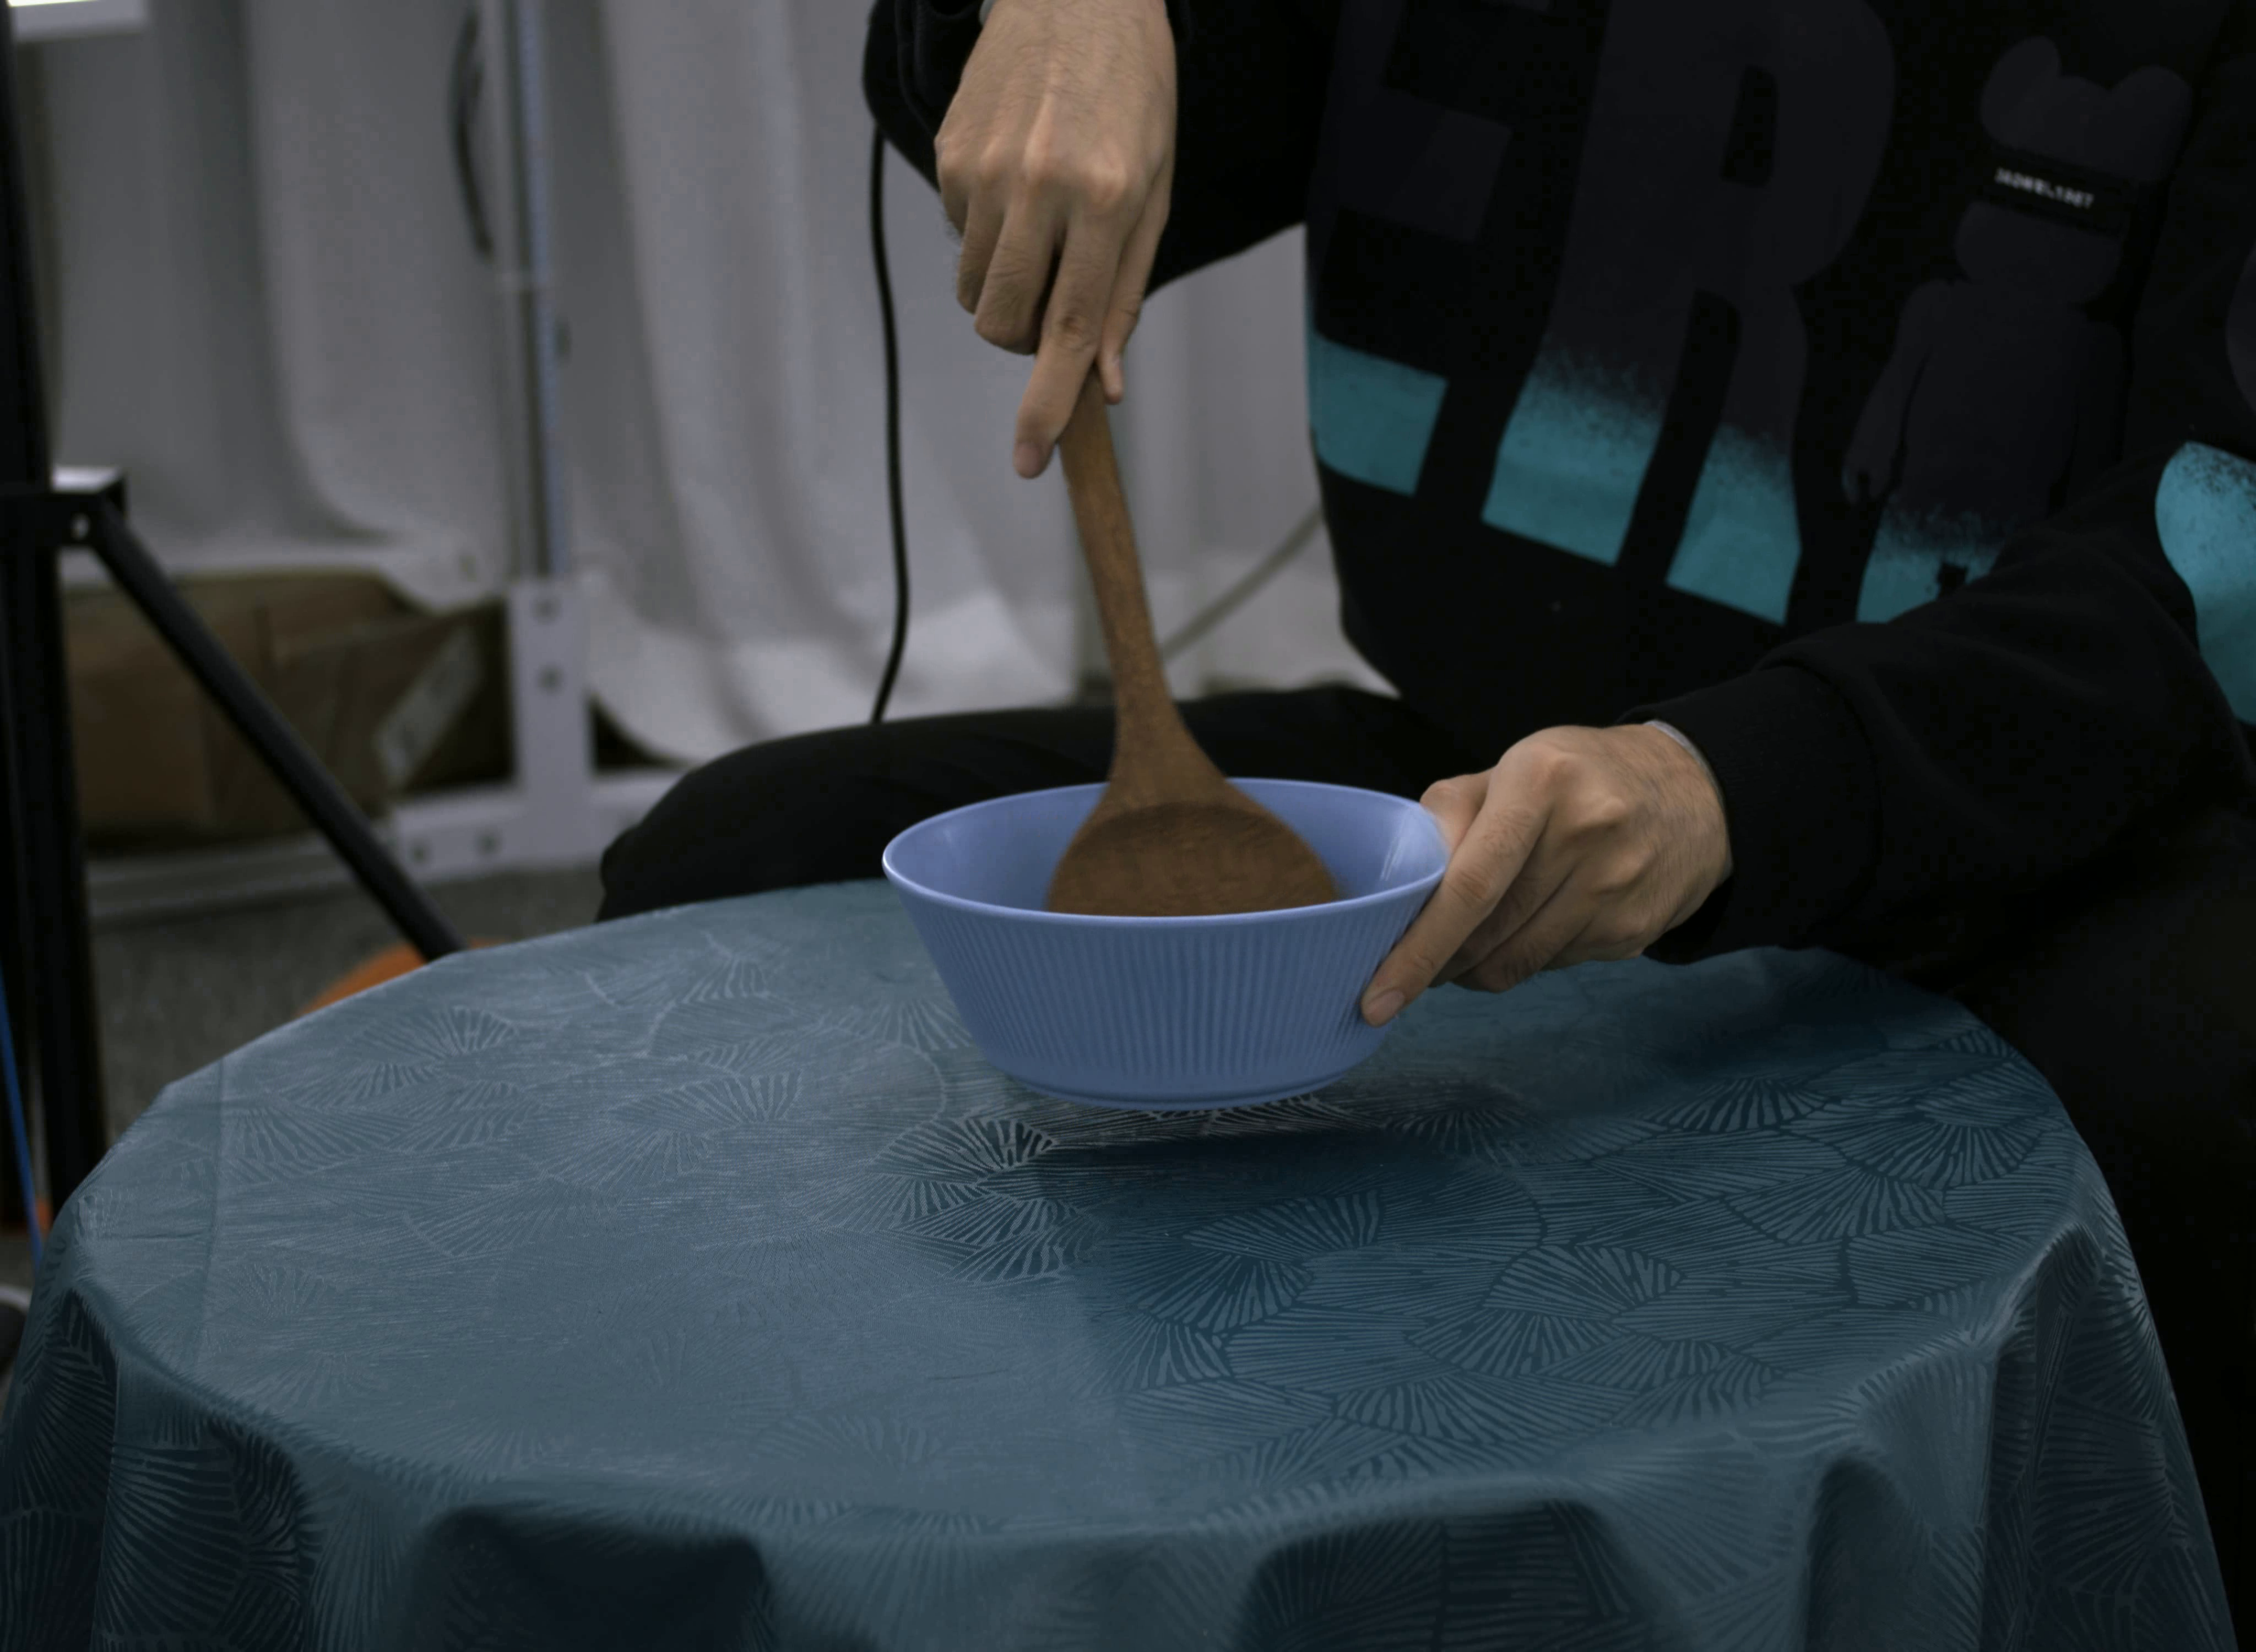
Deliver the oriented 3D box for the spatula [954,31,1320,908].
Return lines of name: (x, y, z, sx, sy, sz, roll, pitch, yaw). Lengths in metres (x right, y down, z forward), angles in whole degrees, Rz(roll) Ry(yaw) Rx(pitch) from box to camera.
spatula: (-0.010, -0.096, 1.670, 0.095, 0.391, 0.016, -7, -29, -9)

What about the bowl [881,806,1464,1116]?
bowl: (0.016, 0.042, 1.593, 0.175, 0.070, 0.176, -5, 10, 0)
